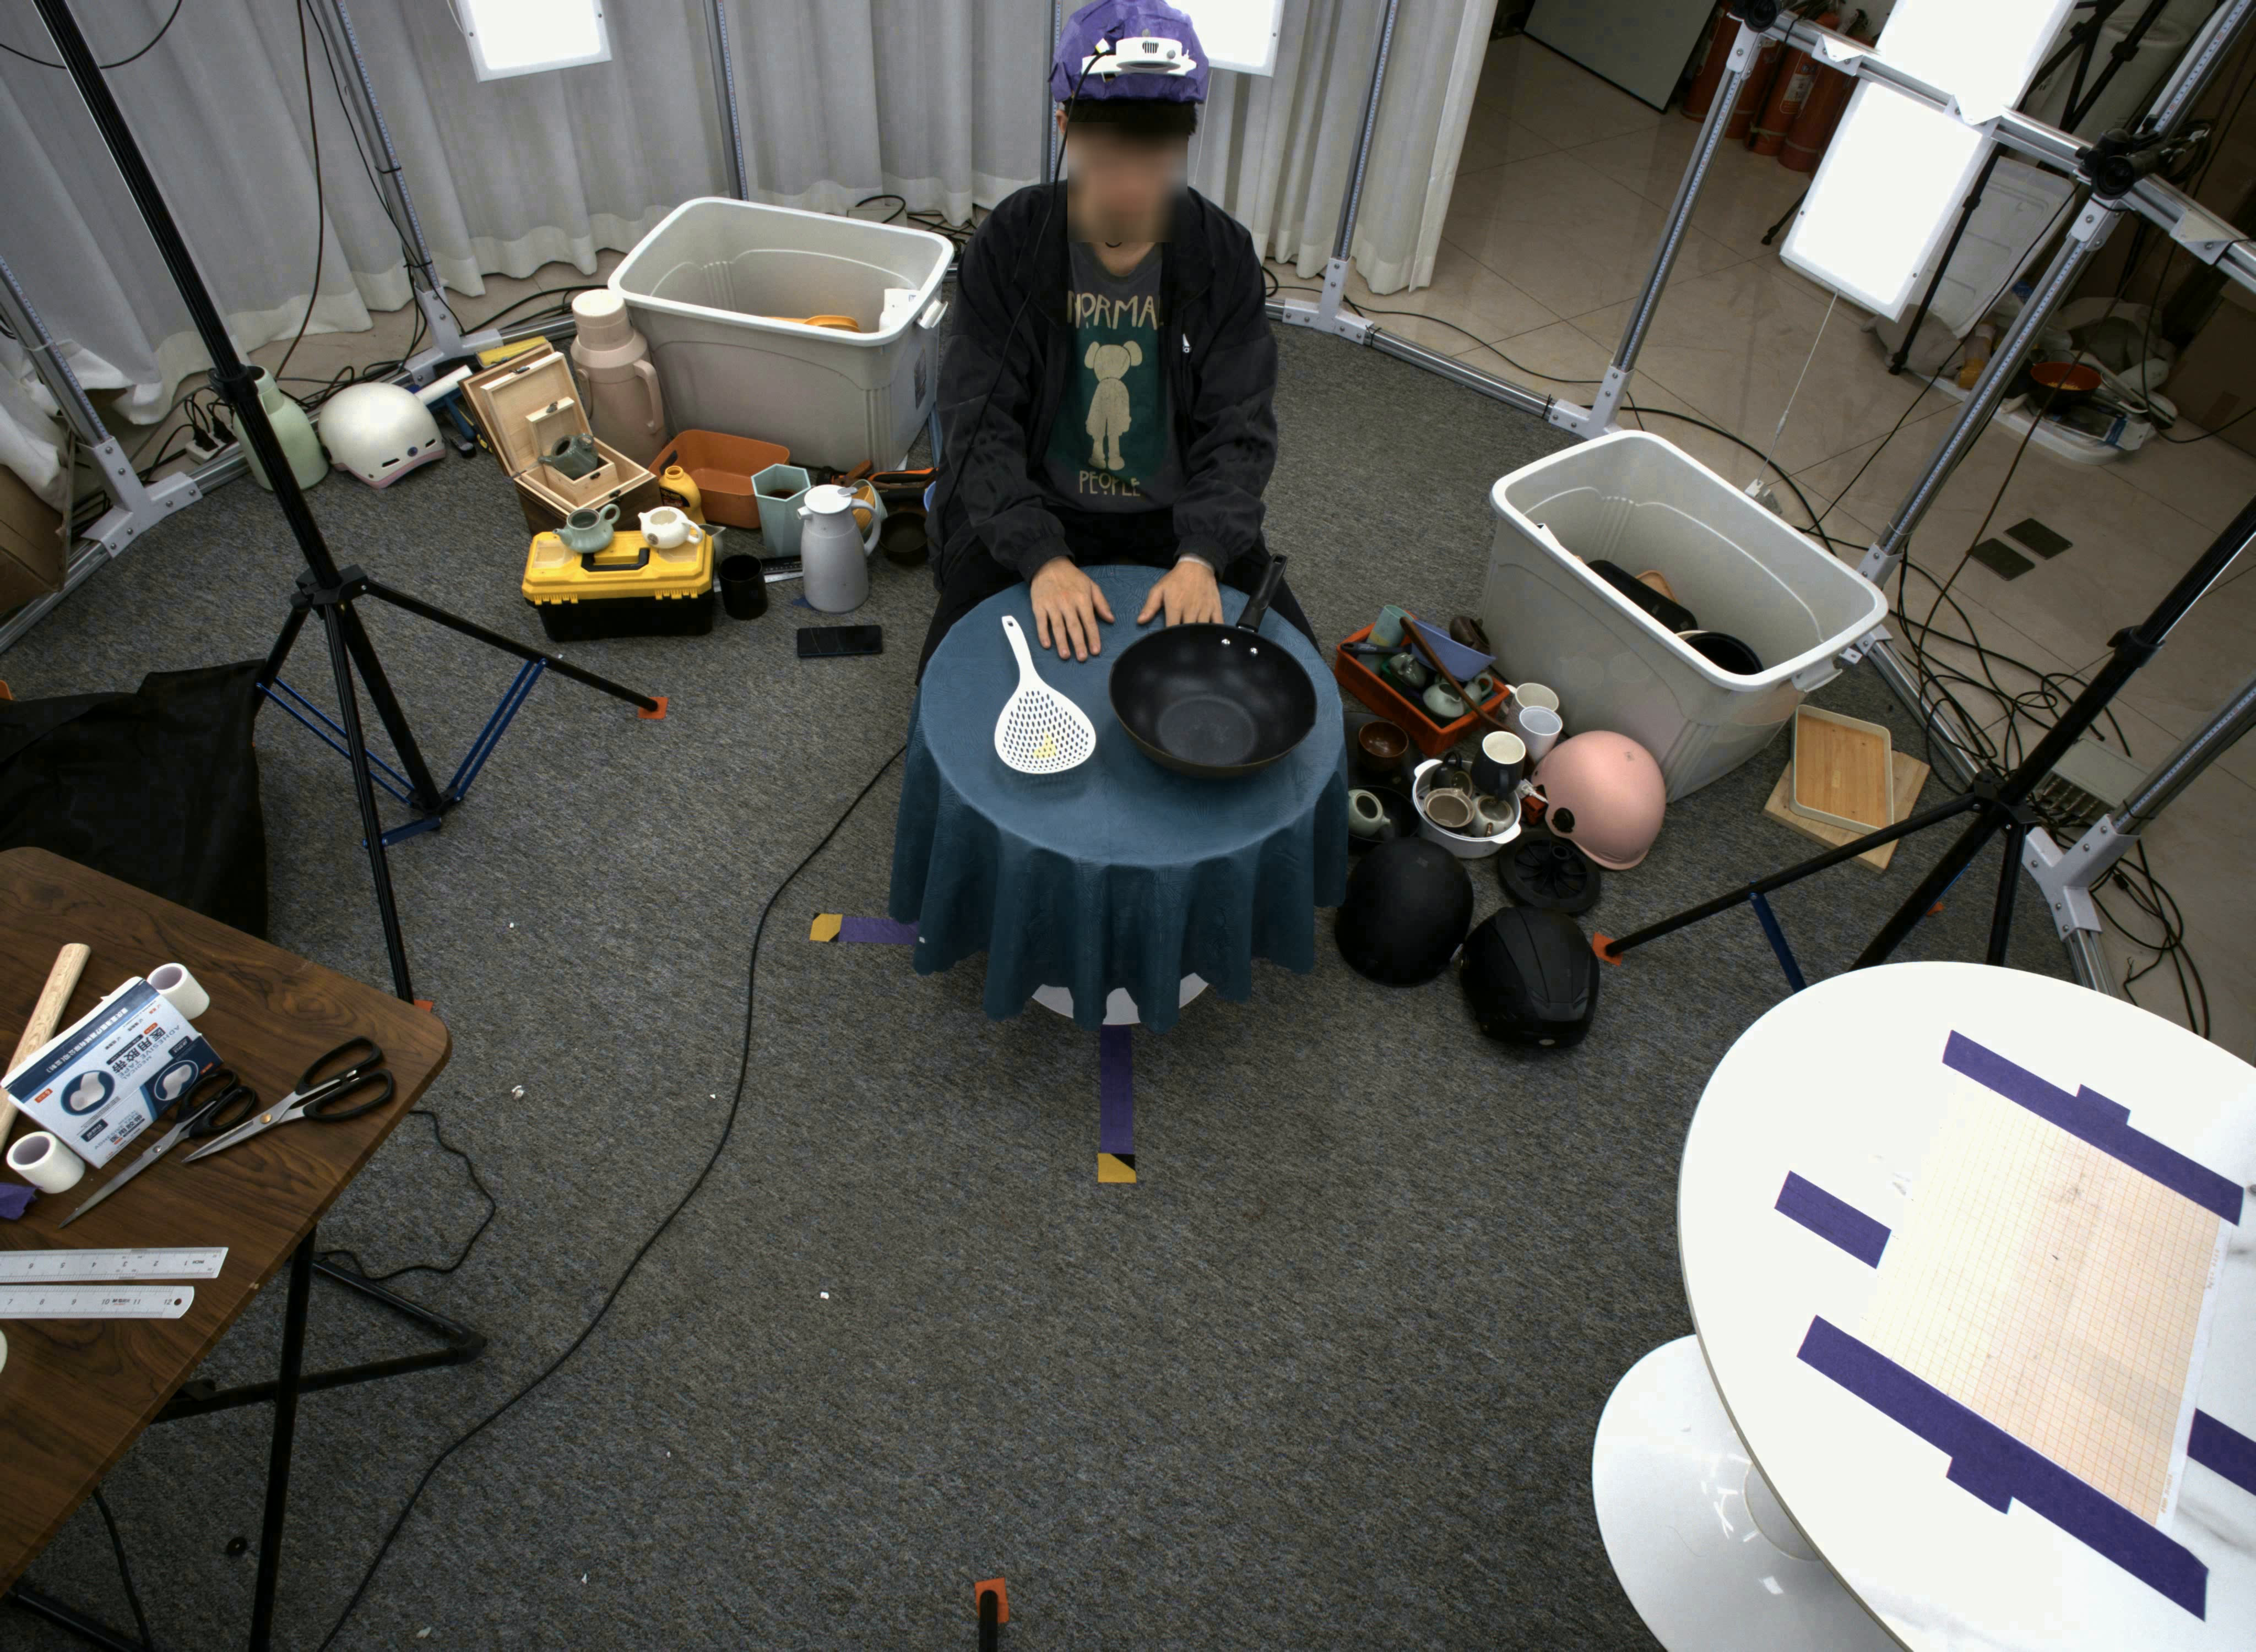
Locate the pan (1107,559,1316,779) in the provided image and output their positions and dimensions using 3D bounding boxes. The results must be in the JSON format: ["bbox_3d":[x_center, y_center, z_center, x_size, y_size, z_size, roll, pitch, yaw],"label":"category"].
[{"bbox_3d":[0.144,-0.221,1.815,0.289,0.085,0.472,18,49,12],"label":"pan"}]

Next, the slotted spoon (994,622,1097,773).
[{"bbox_3d":[-0.135,-0.191,1.797,0.137,0.049,0.357,-10,50,-8],"label":"slotted spoon"}]
